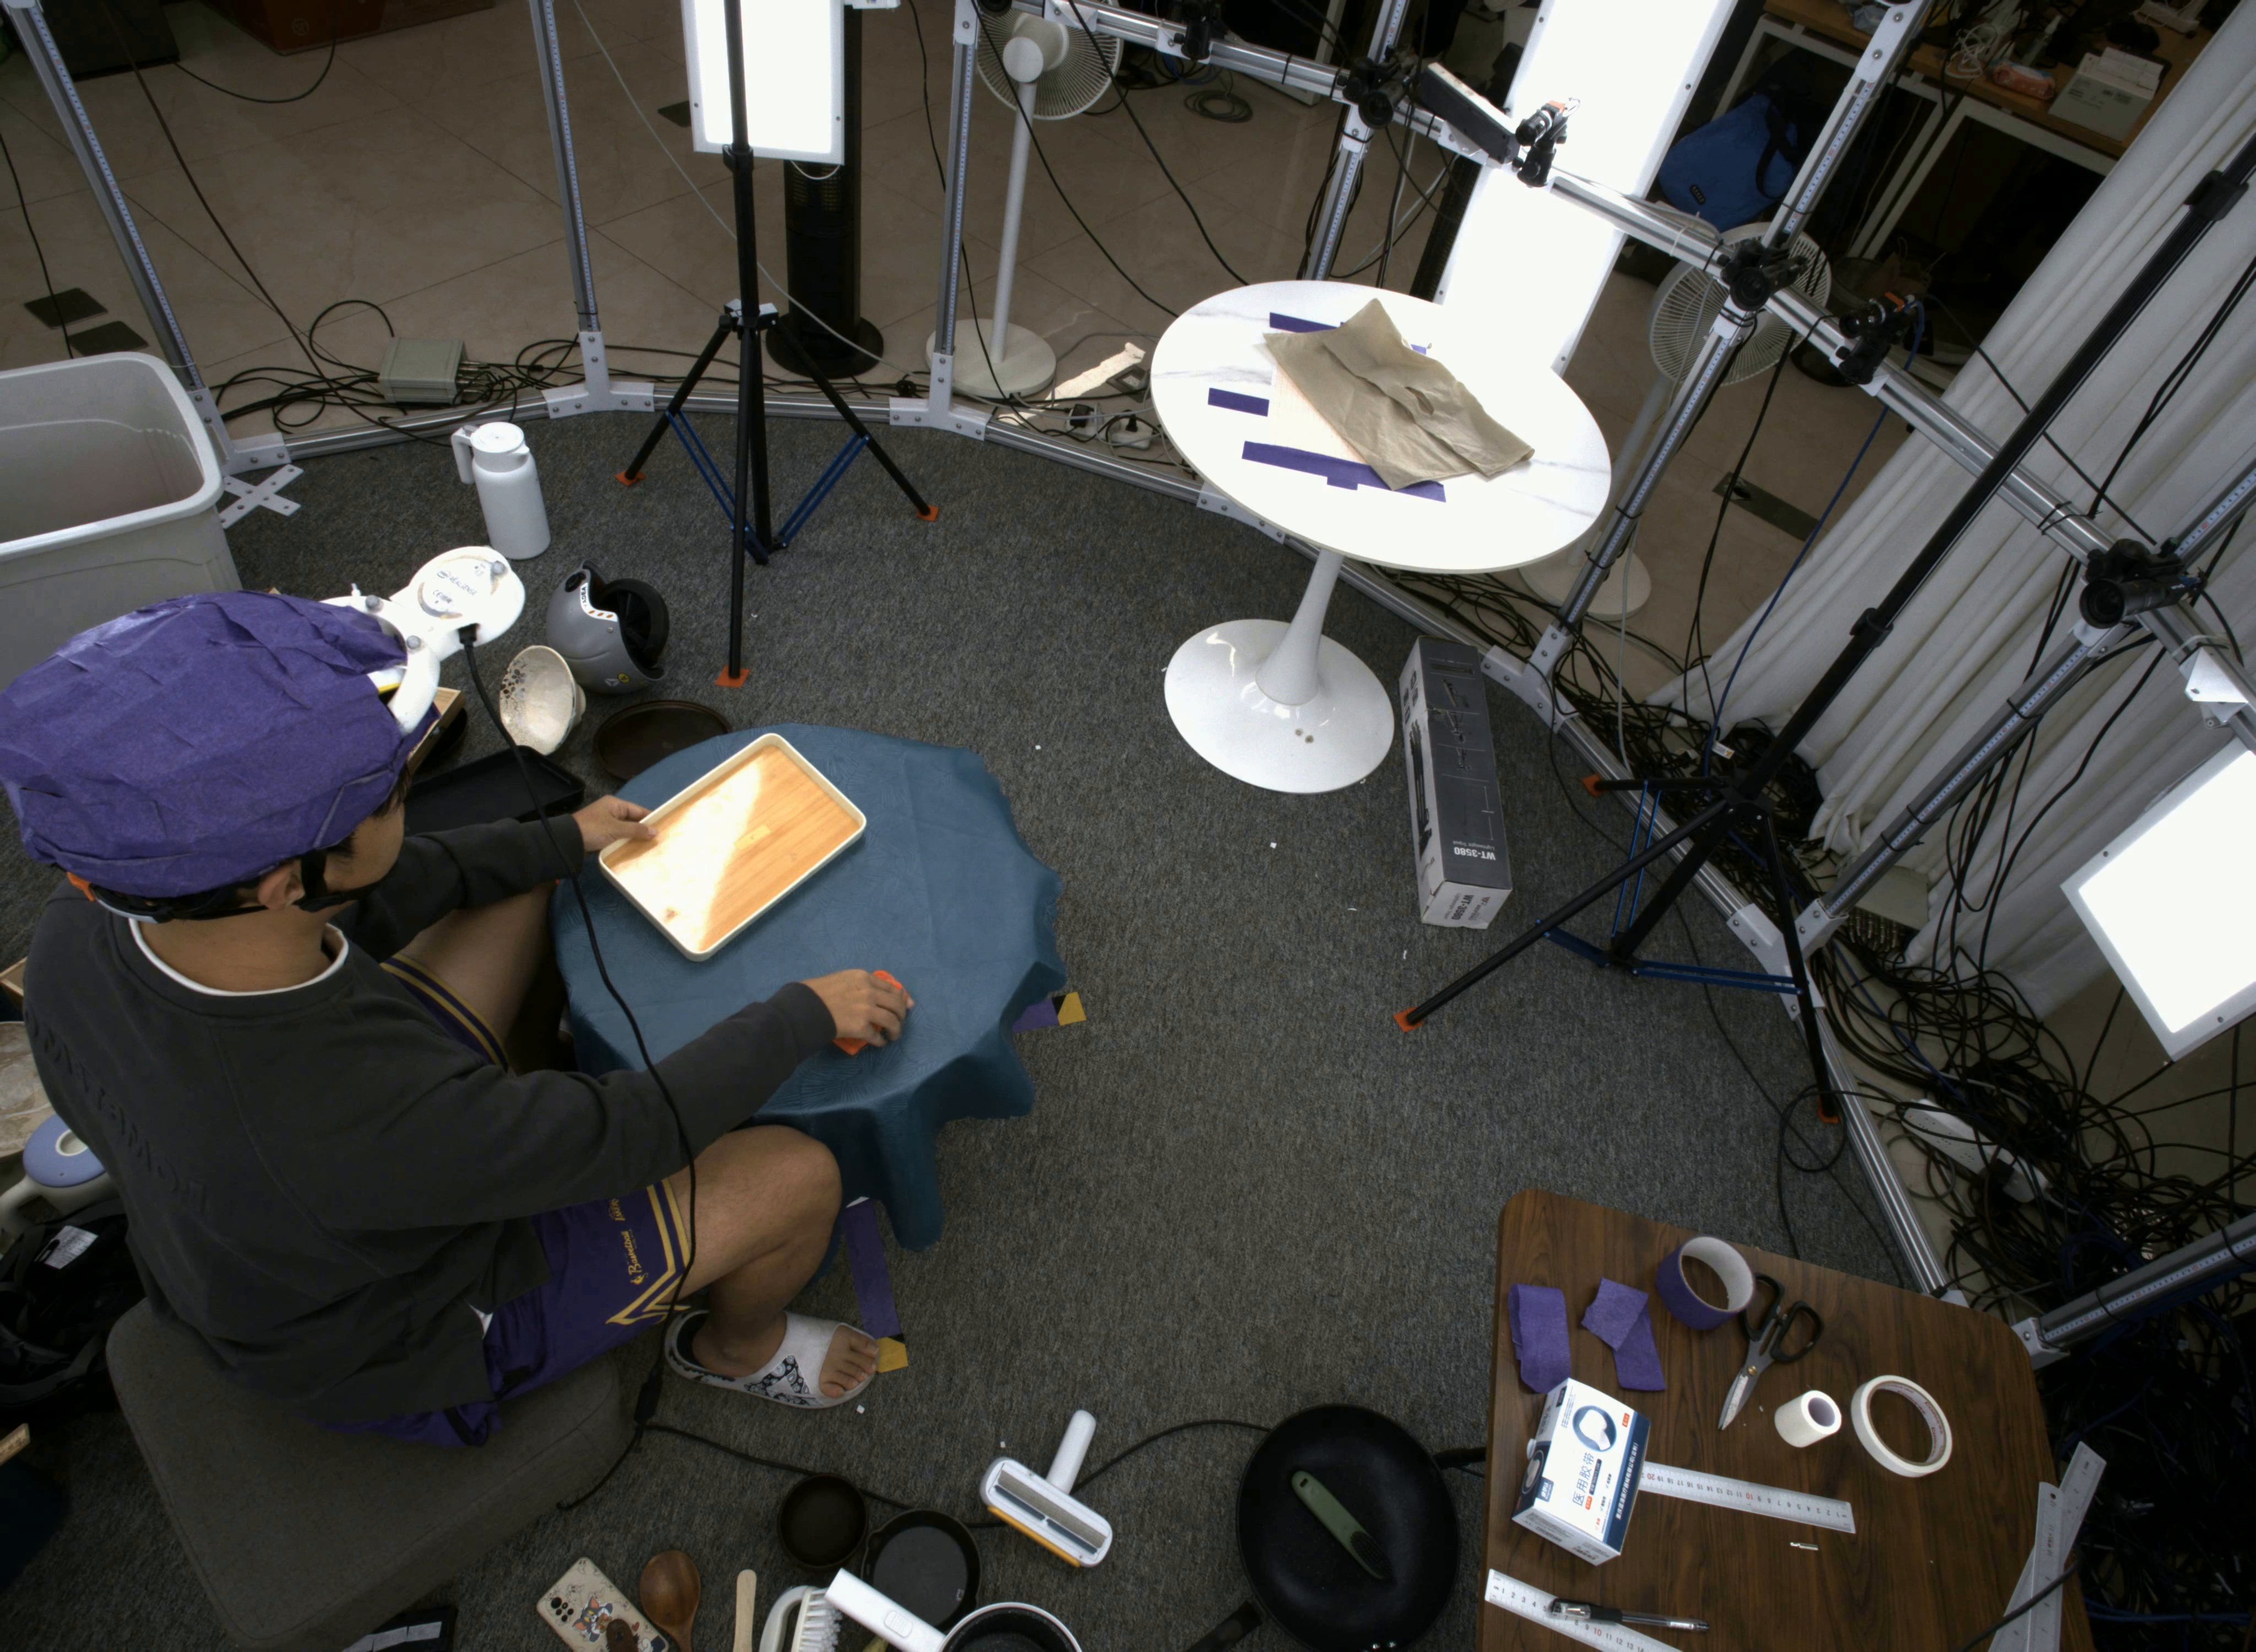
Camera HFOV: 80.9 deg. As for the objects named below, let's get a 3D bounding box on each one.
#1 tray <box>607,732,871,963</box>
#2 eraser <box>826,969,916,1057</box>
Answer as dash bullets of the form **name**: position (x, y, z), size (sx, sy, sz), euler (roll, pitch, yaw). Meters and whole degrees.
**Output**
- **tray**: position (-0.496, 0.020, 1.657), size (0.190, 0.027, 0.300), euler (44, 55, 4)
- **eraser**: position (-0.311, 0.223, 1.573), size (0.057, 0.023, 0.108), euler (31, 54, 19)
